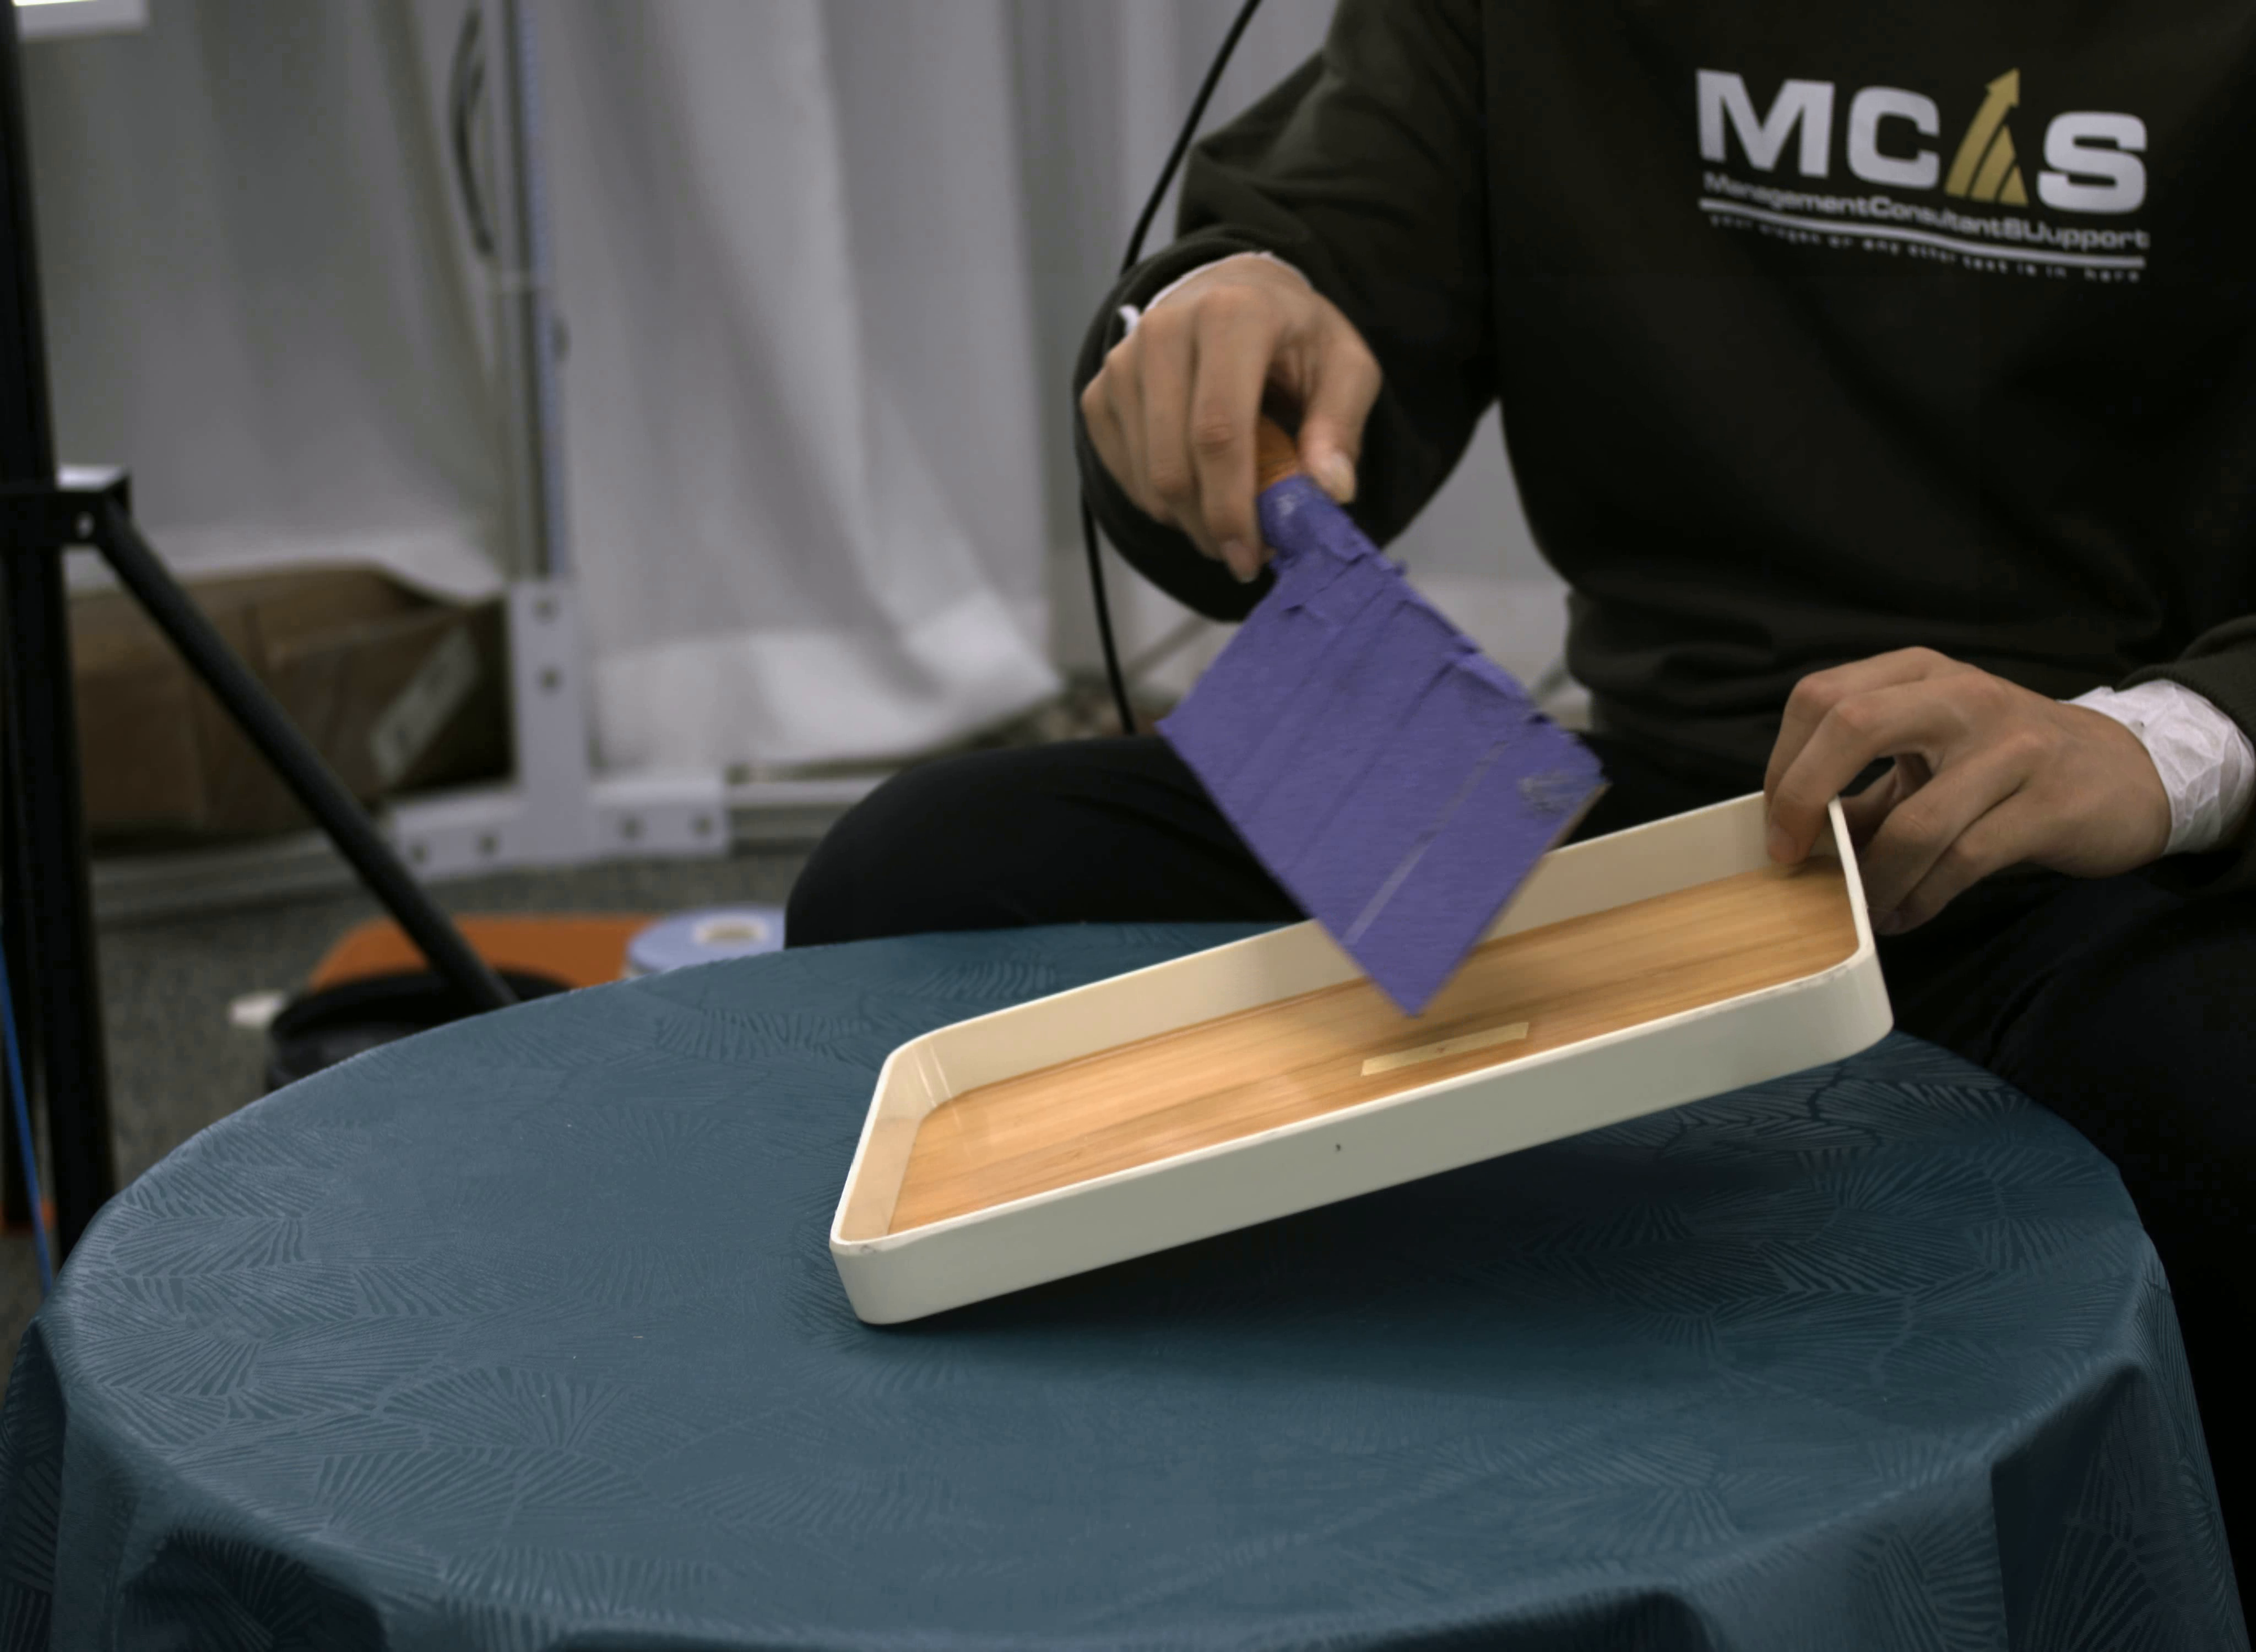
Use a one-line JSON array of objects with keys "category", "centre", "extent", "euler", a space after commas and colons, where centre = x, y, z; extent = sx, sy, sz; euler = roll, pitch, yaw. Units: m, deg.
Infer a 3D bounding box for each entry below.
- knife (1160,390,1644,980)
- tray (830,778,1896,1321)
[{"category": "knife", "centre": [0.058, -0.047, 1.621], "extent": [0.031, 0.104, 0.321], "euler": [35, 7, -29]}, {"category": "tray", "centre": [0.067, 0.062, 1.520], "extent": [0.301, 0.027, 0.191], "euler": [-17, 14, 9]}]
